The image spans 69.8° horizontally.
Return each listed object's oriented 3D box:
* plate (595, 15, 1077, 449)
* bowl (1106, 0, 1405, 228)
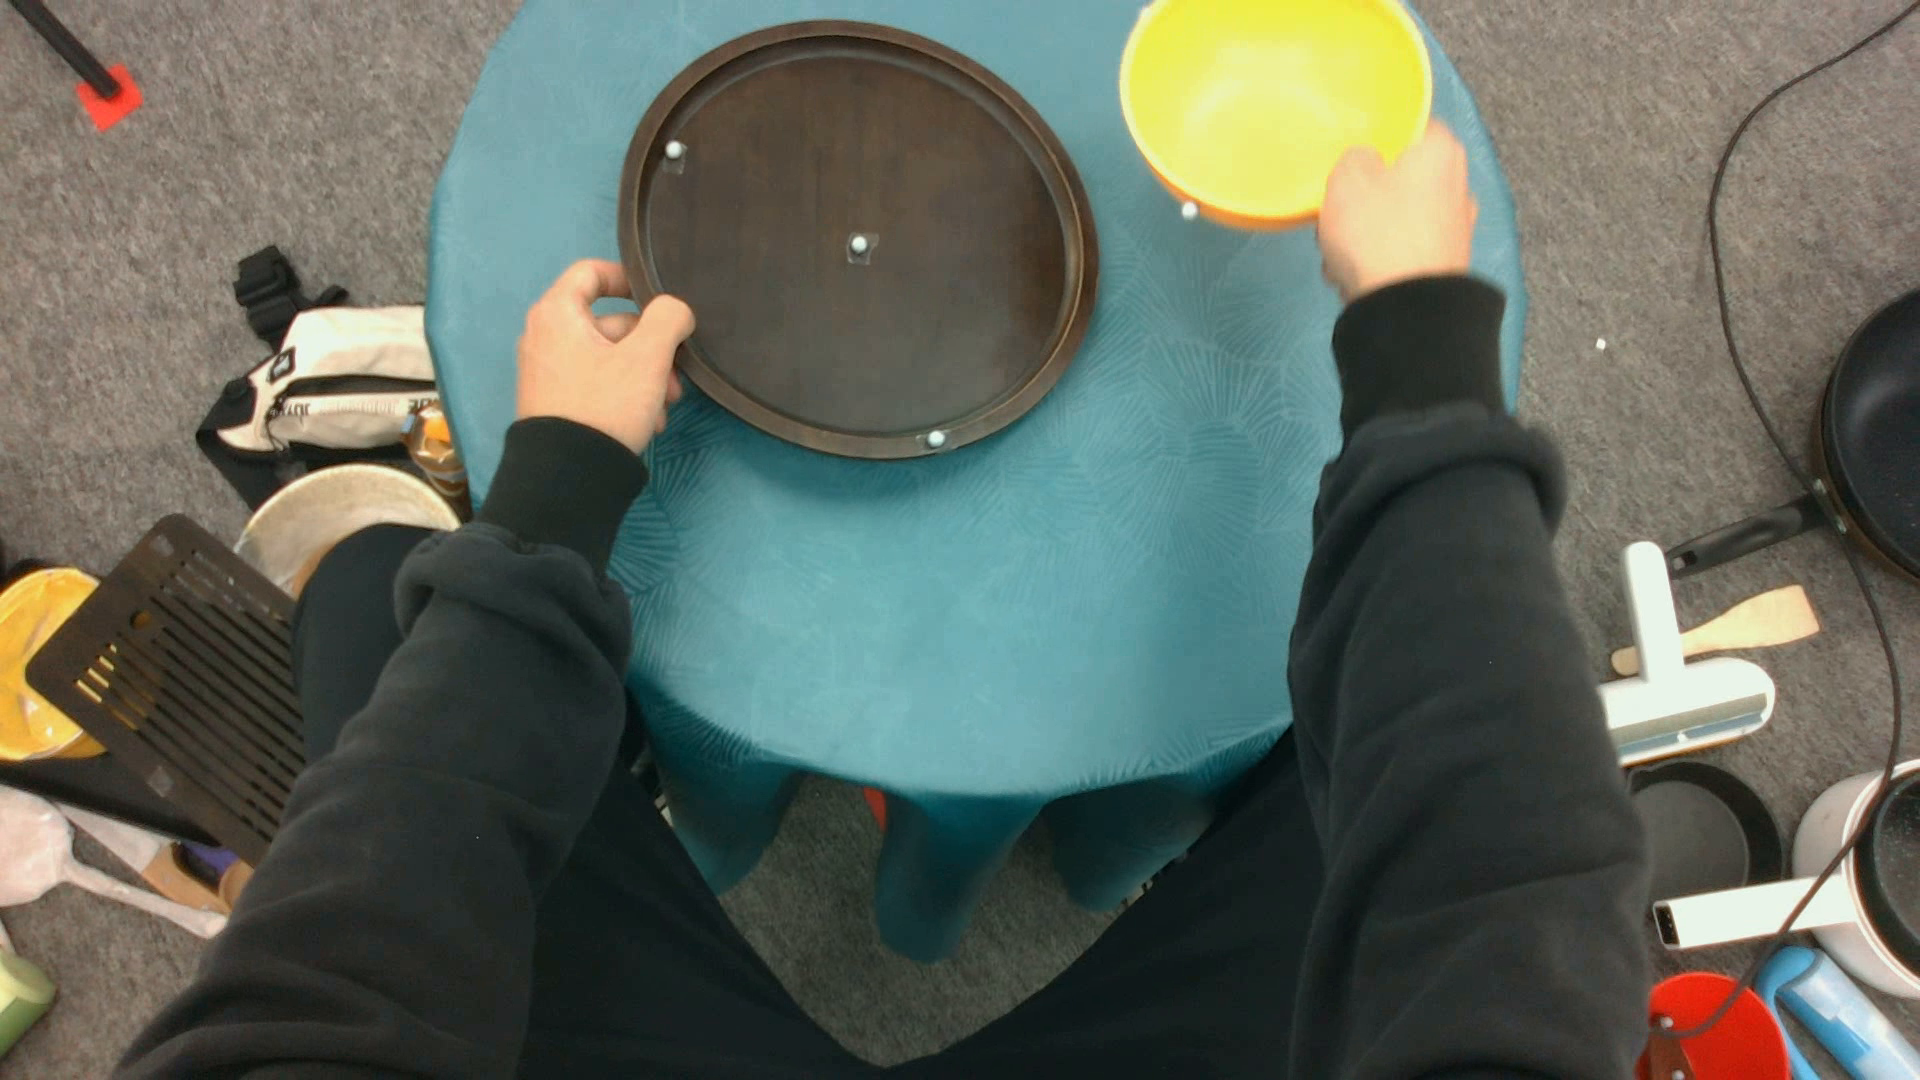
[{"bbox_3d":[-0.061,-0.164,0.722,0.255,0.029,0.255,5,72,-15],"label":"plate"},{"bbox_3d":[0.145,-0.212,0.696,0.145,0.060,0.145,-1,72,2],"label":"bowl"}]
